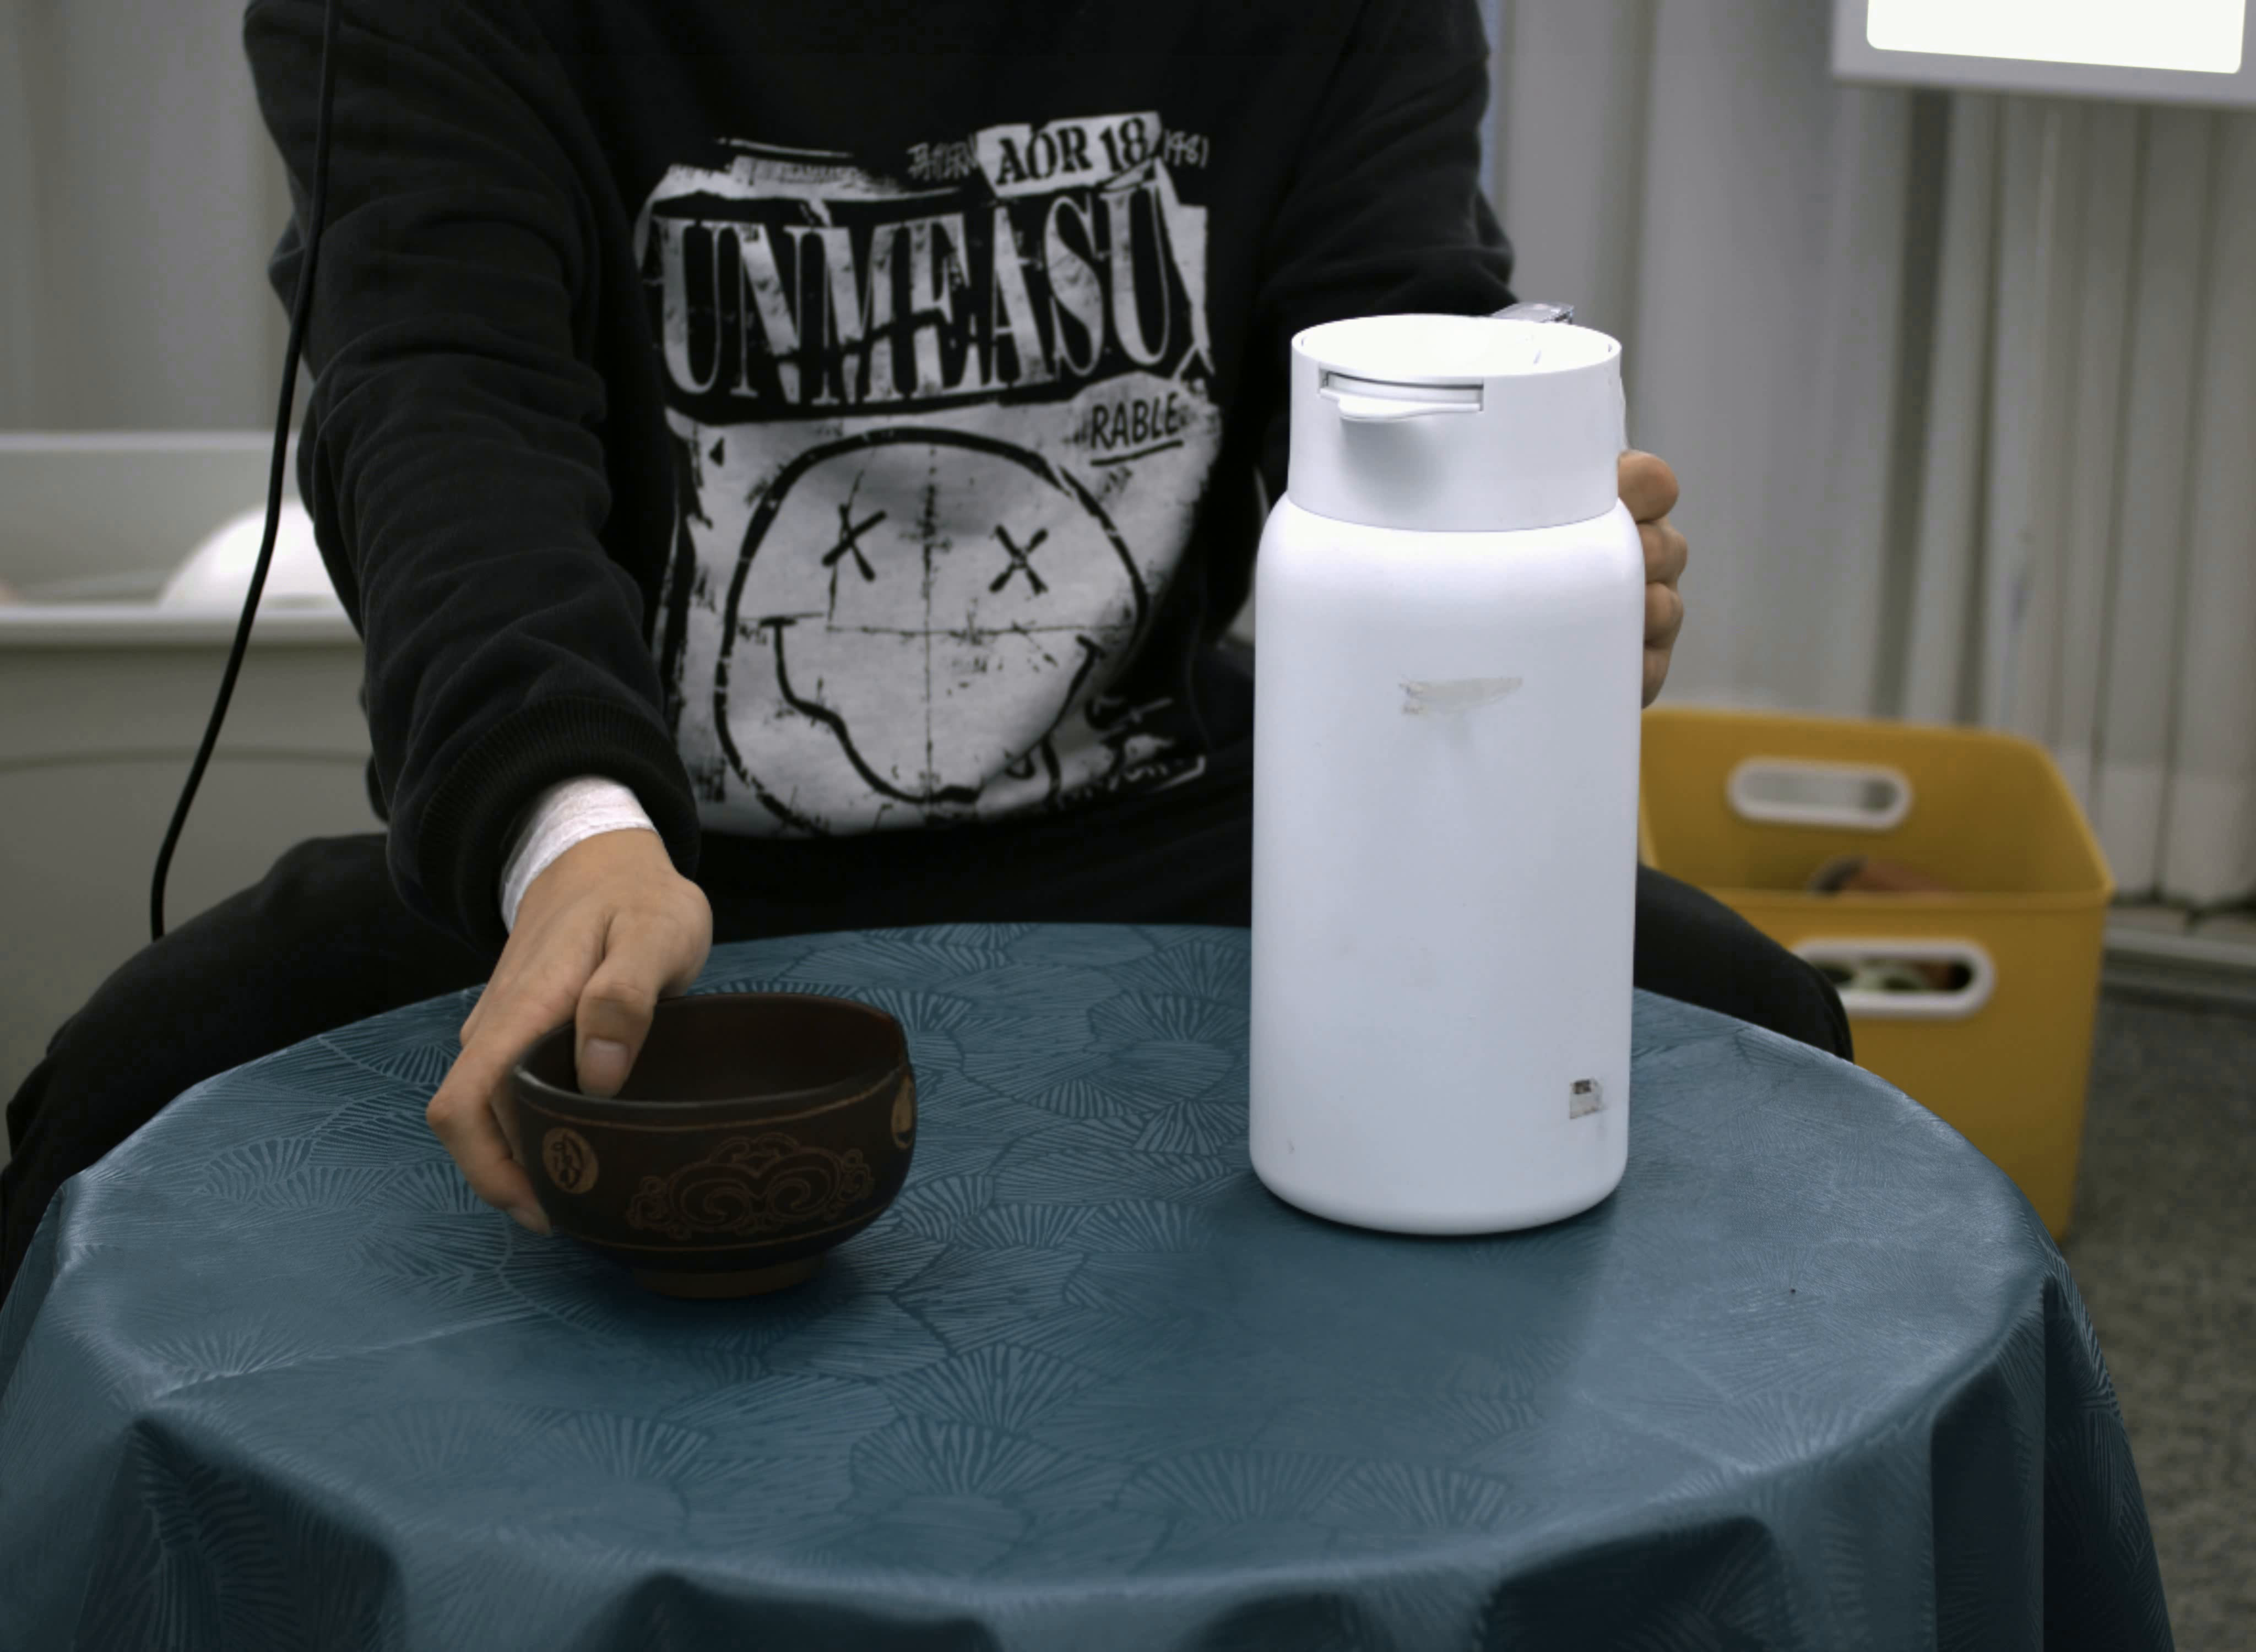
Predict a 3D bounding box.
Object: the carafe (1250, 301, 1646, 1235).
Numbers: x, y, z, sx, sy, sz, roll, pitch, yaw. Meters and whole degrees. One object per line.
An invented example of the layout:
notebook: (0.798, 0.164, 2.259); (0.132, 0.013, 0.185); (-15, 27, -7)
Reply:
carafe: (0.103, -0.022, 1.610); (0.122, 0.271, 0.173); (6, 17, 24)

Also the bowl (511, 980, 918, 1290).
bowl: (-0.119, 0.094, 1.539); (0.117, 0.070, 0.117); (-3, 15, 1)
